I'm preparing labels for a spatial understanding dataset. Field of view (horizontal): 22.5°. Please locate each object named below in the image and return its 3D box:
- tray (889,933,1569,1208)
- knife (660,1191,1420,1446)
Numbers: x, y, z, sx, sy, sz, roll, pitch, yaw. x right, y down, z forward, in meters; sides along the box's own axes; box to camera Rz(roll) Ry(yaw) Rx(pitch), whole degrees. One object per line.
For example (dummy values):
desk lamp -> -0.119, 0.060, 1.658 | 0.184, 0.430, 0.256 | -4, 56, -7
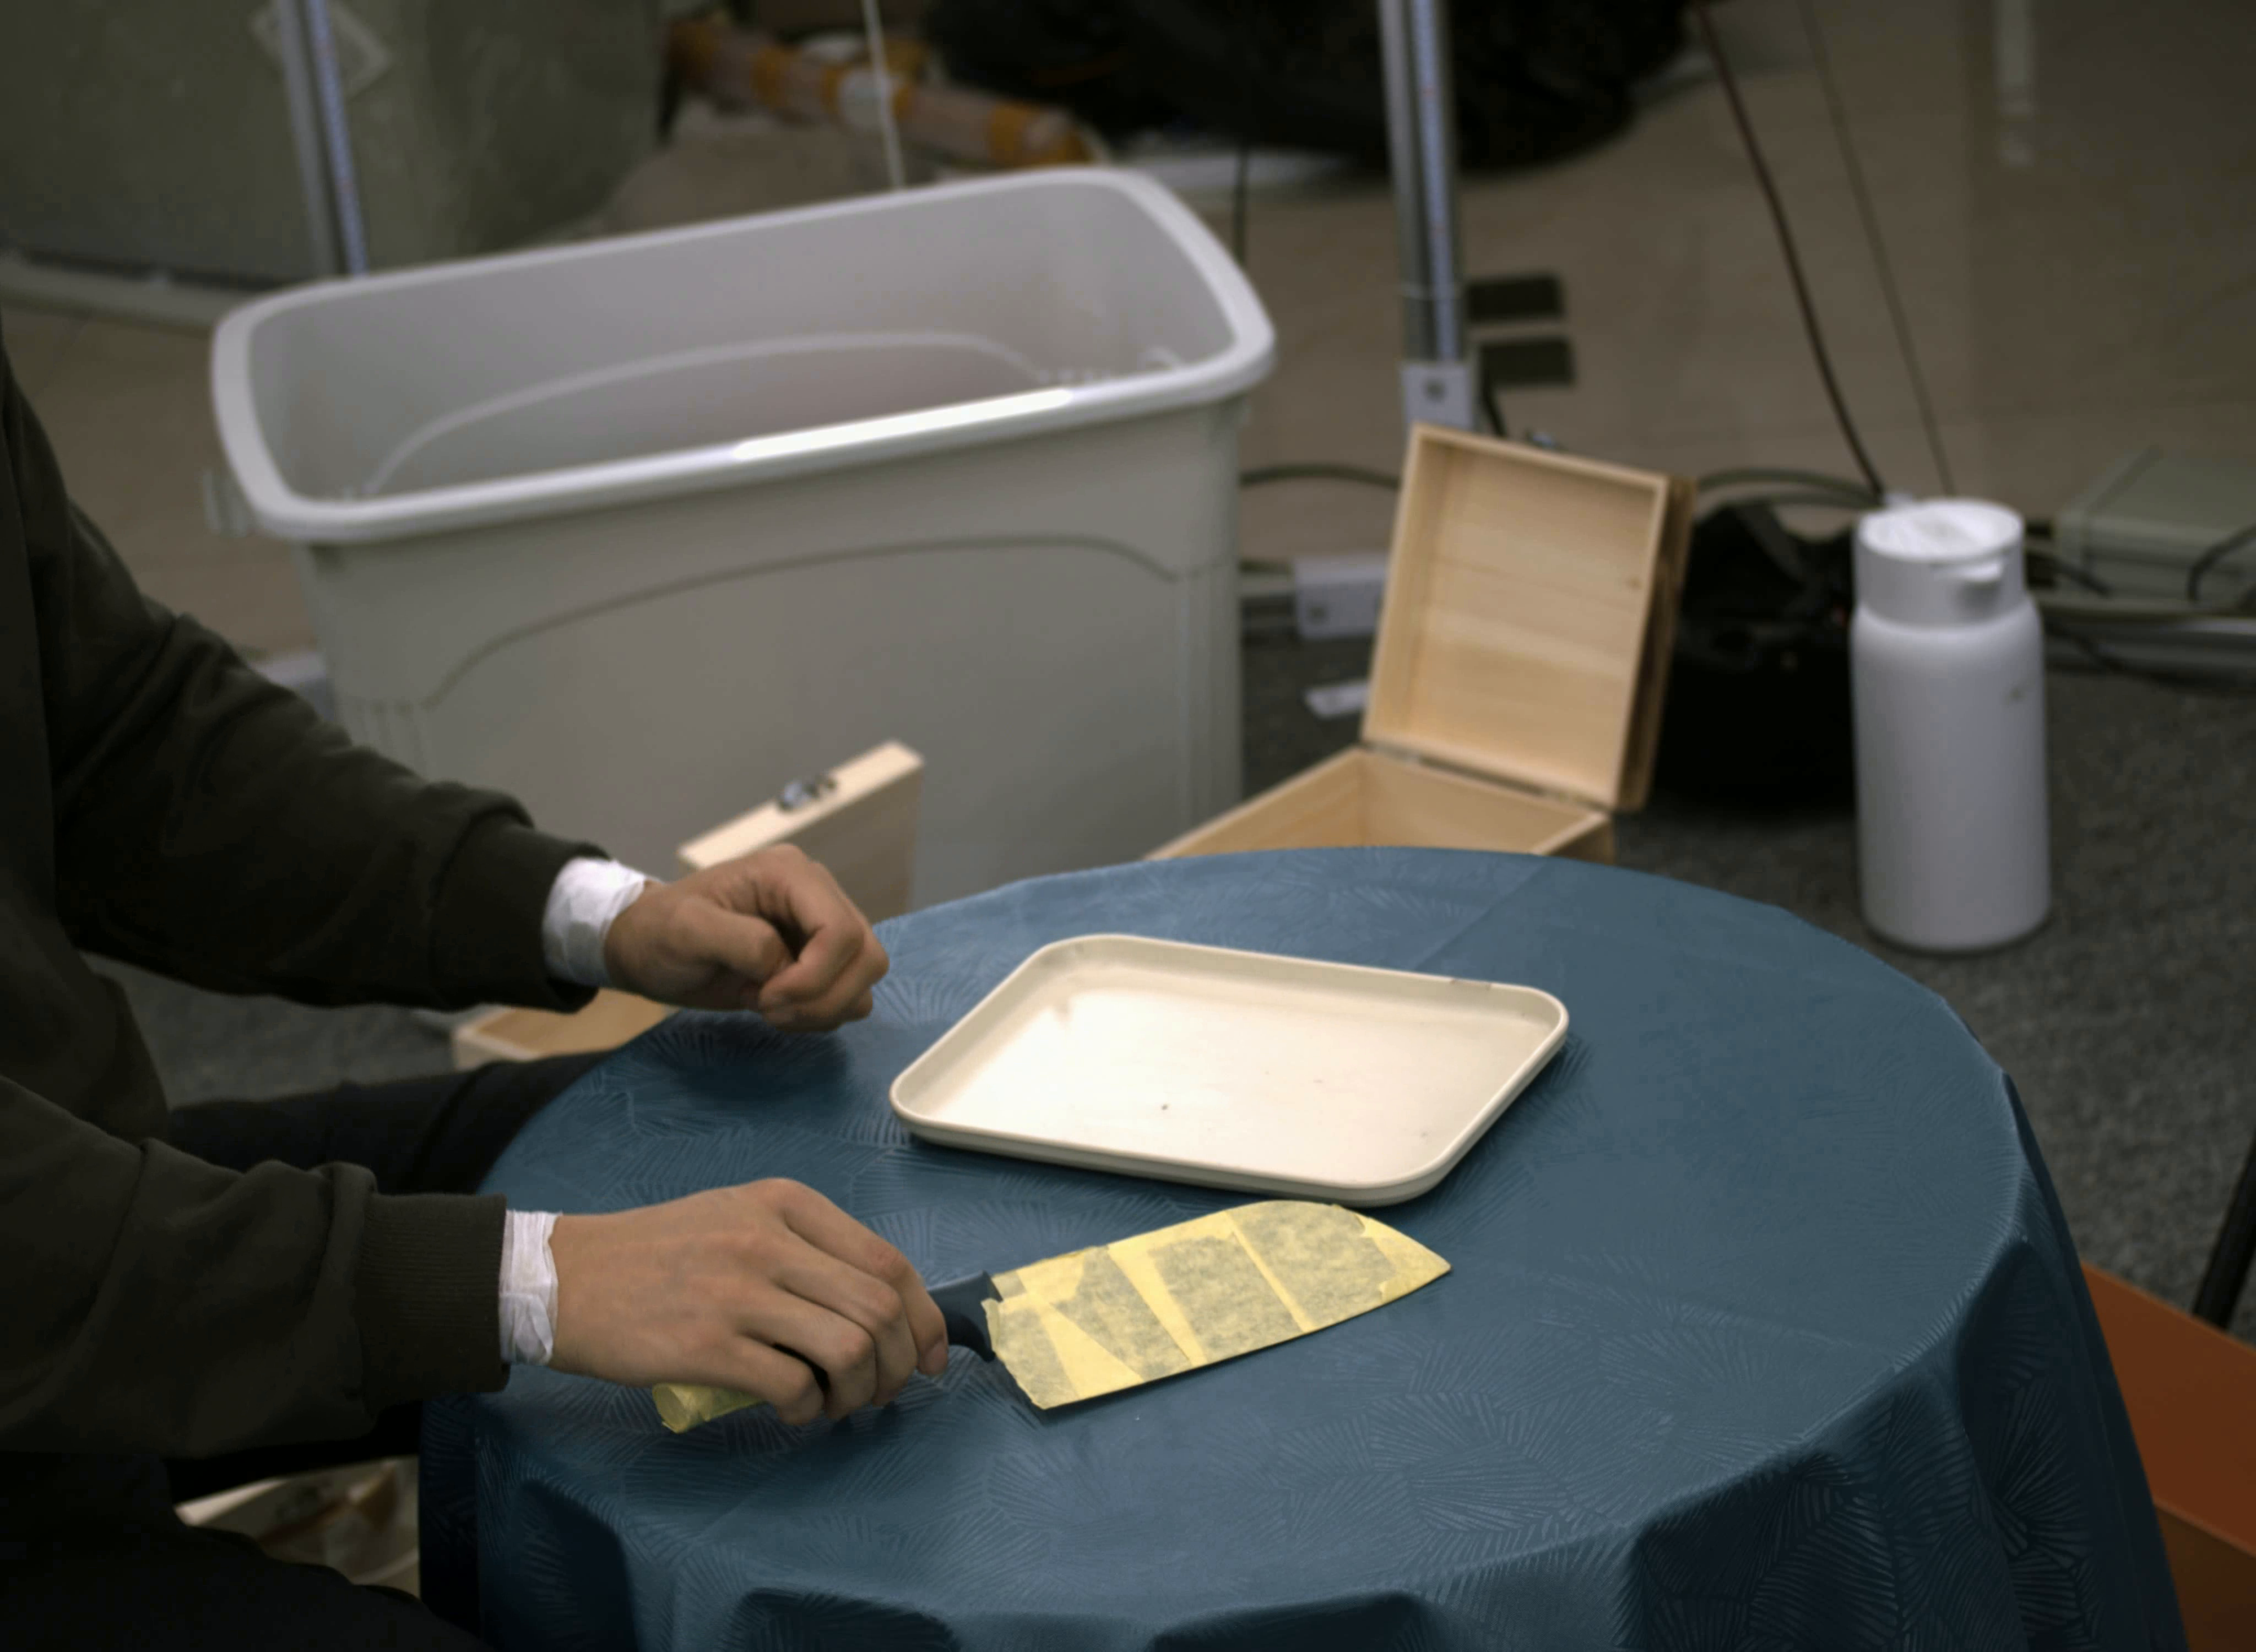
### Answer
tray -> 0.040, 0.095, 2.215 | 0.239, 0.018, 0.169 | 7, 29, 27
knife -> -0.027, 0.180, 2.037 | 0.288, 0.028, 0.080 | -14, 39, -18
